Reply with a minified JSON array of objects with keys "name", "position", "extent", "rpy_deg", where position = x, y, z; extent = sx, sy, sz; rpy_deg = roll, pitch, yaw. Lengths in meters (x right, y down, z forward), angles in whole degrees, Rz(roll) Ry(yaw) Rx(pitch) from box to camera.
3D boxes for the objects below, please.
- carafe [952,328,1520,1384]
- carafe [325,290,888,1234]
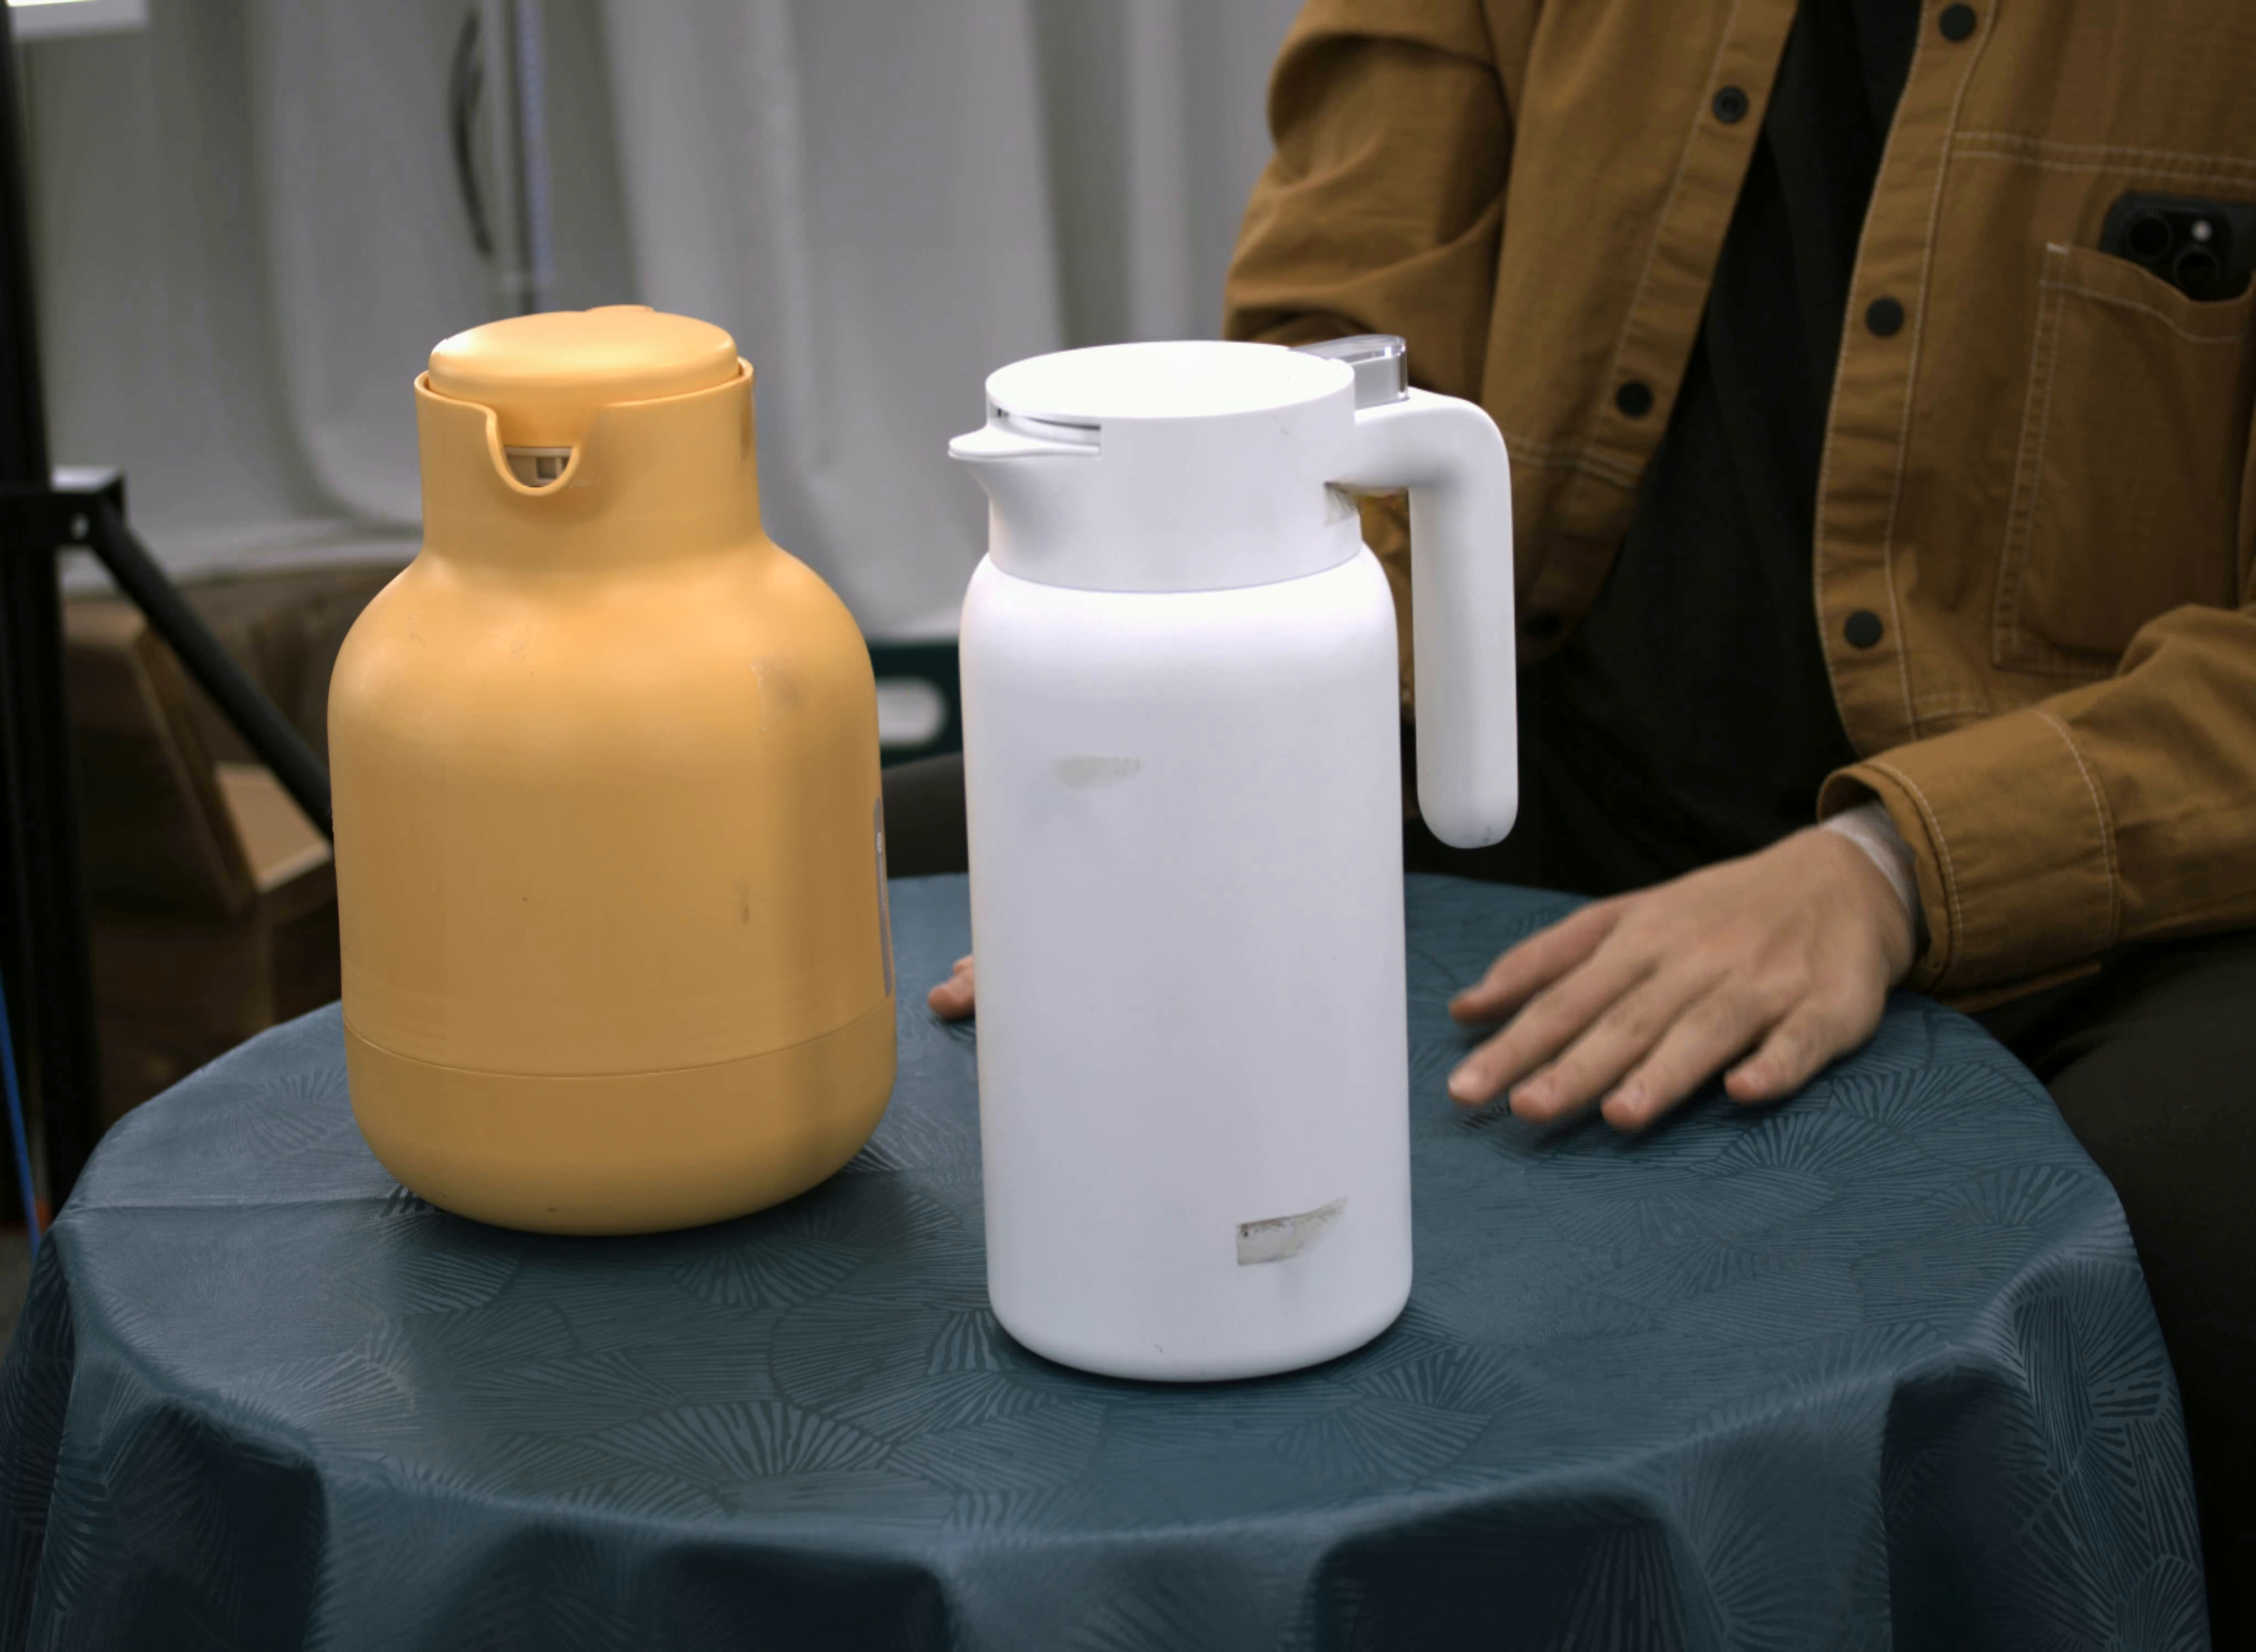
[{"name":"carafe","position":[0.030,0.004,1.430],"extent":[0.169,0.269,0.126],"rpy_deg":[-12,16,-32]},{"name":"carafe","position":[-0.149,-0.027,1.577],"extent":[0.164,0.260,0.202],"rpy_deg":[3,17,9]}]
